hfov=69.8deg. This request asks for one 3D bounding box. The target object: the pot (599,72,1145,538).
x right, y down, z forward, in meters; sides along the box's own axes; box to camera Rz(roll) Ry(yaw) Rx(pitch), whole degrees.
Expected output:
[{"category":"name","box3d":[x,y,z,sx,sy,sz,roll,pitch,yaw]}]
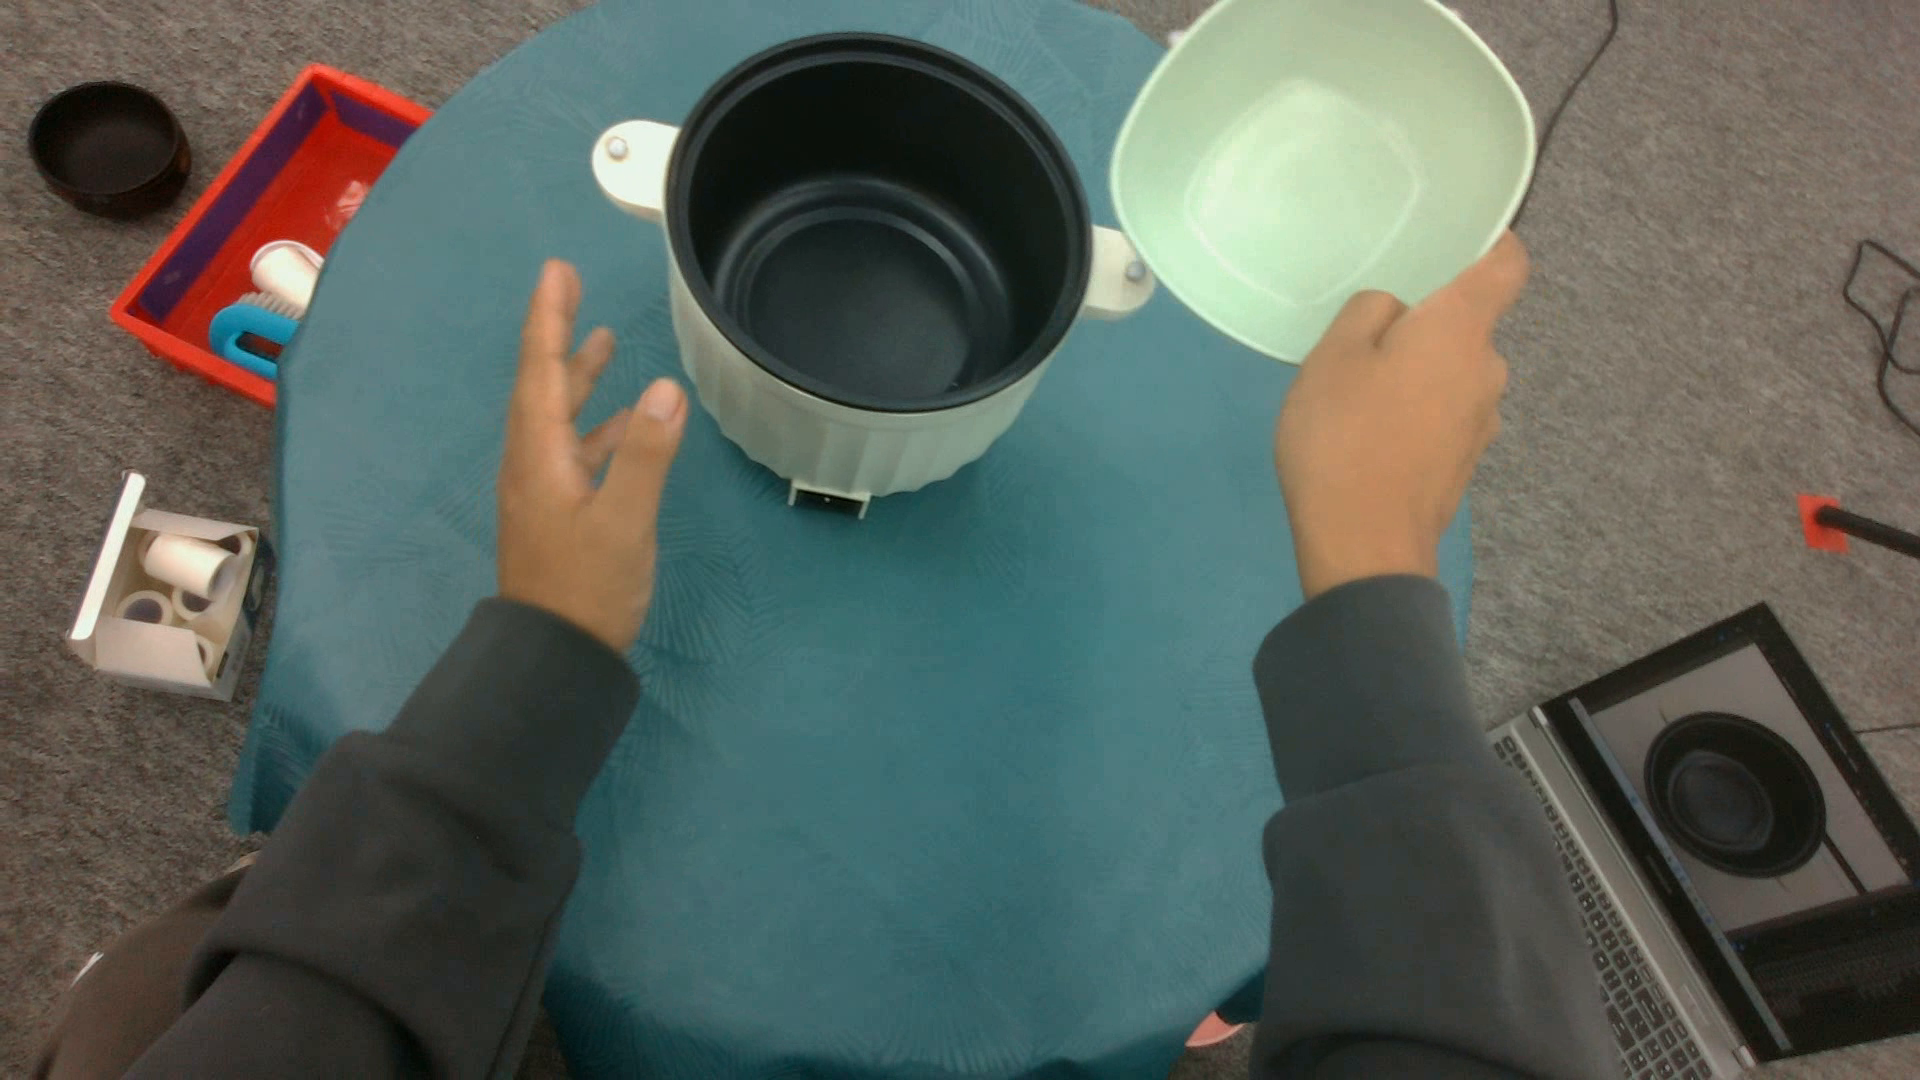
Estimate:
[{"category":"pot","box3d":[-0.045,-0.110,0.655,0.240,0.142,0.191,7,71,-10]}]

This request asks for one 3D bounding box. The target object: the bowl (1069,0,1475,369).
[{"category":"bowl","box3d":[0.121,-0.141,0.547,0.151,0.059,0.151,0,91,11]}]
